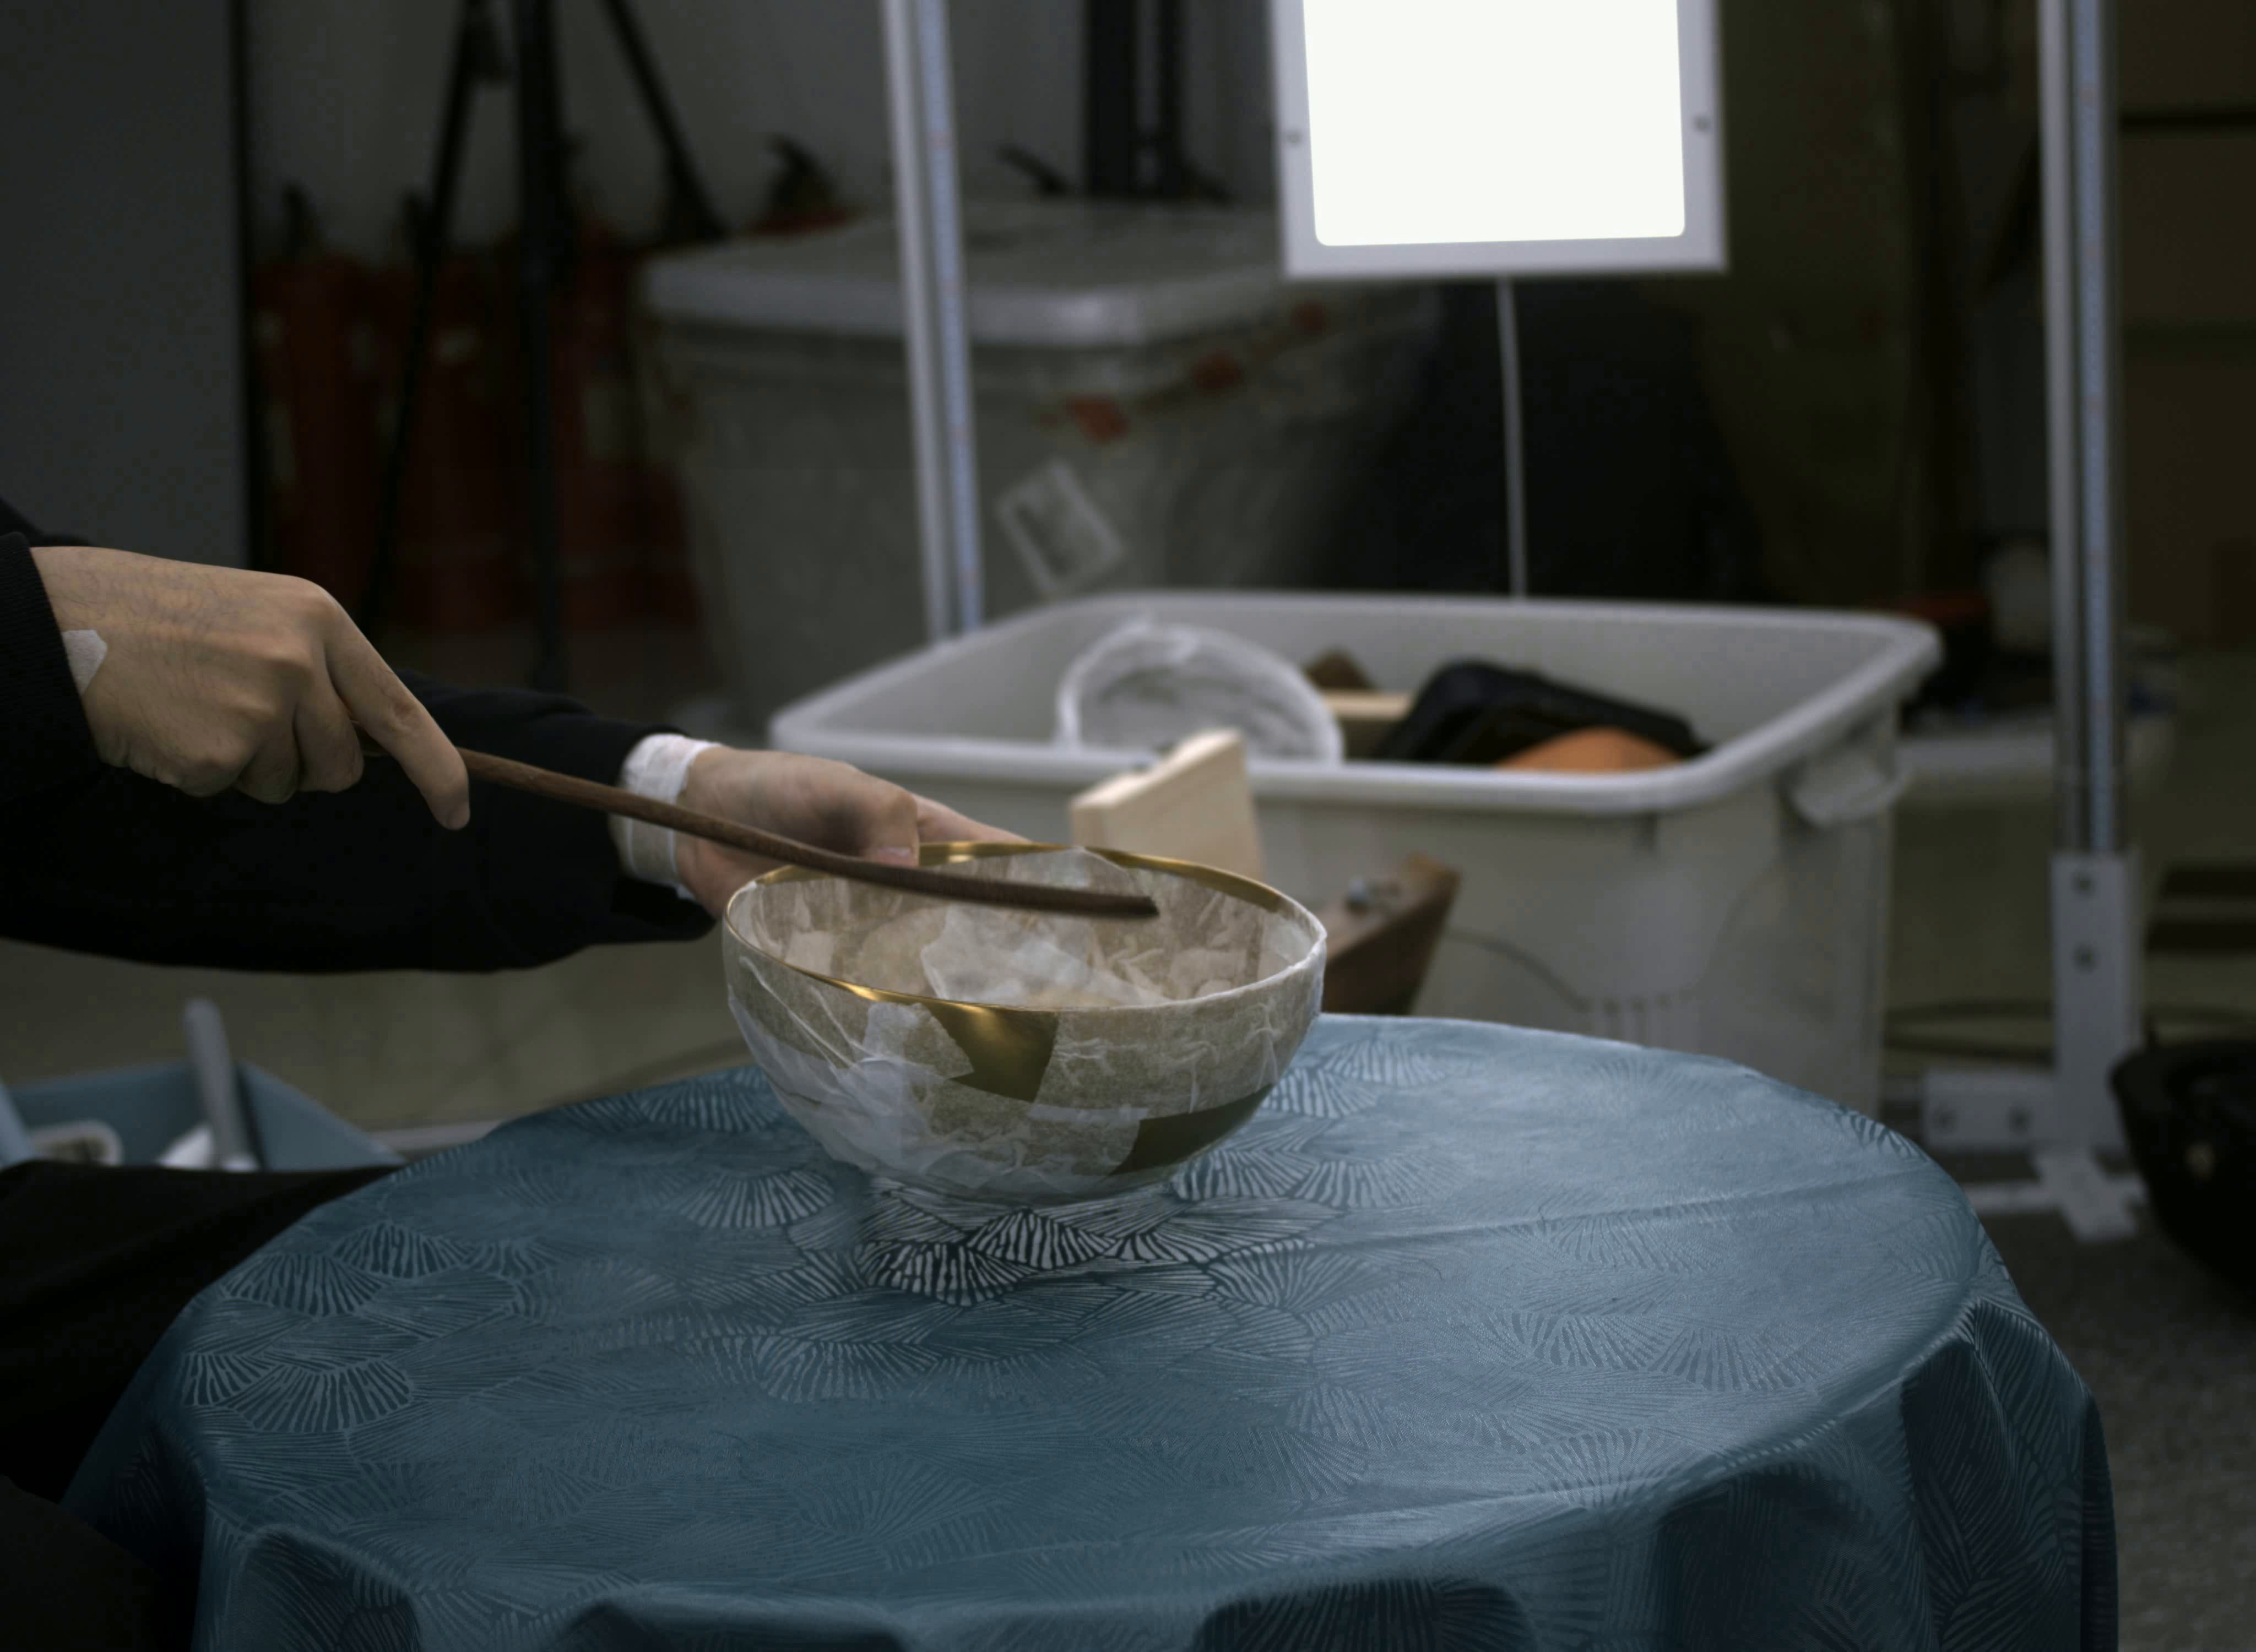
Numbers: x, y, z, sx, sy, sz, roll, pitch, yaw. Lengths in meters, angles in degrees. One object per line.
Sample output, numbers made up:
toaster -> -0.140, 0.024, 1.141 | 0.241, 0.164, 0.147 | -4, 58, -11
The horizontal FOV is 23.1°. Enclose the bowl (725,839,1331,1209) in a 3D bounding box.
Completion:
bowl -> -0.036, 0.073, 1.844 | 0.214, 0.095, 0.214 | 0, 15, -1

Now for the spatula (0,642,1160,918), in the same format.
spatula -> -0.177, -0.014, 1.761 | 0.383, 0.016, 0.096 | 13, -3, -5
